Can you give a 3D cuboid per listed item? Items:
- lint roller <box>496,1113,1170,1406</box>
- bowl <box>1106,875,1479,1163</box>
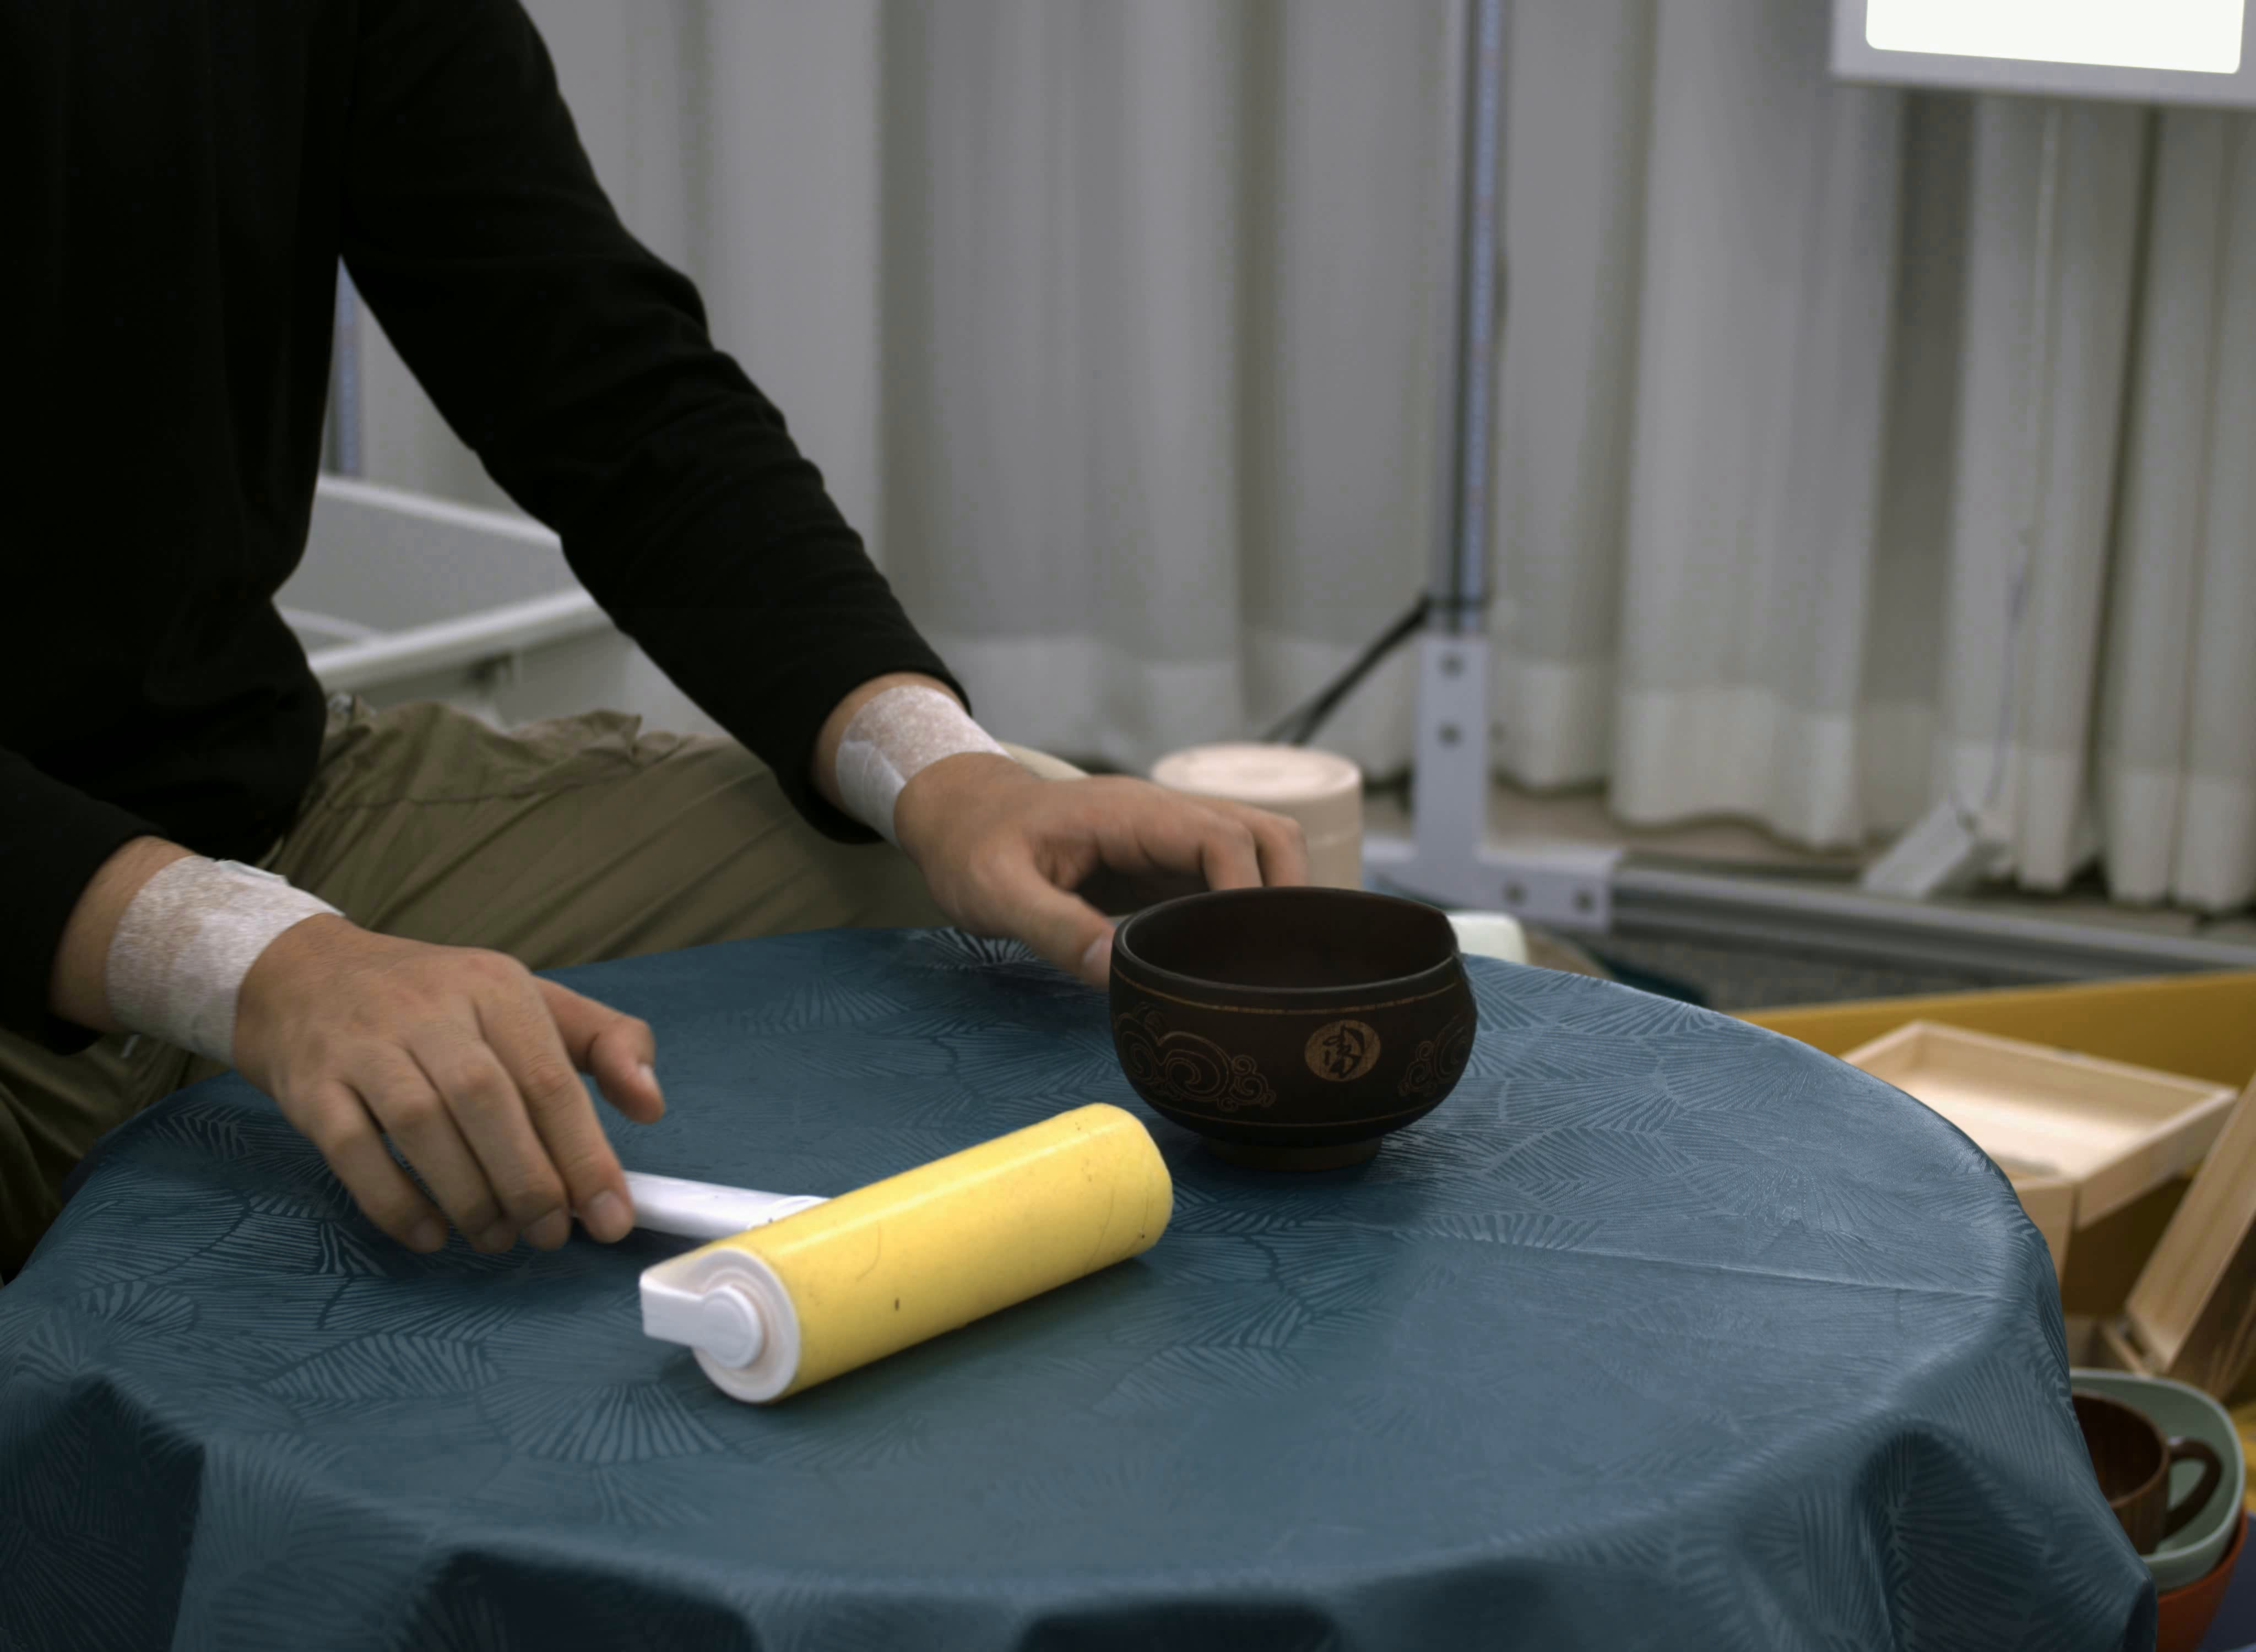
[{"bbox_3d":[-0.112,0.107,1.540,0.189,0.052,0.175,18,22,34],"label":"lint roller"},{"bbox_3d":[0.051,0.064,1.655,0.117,0.070,0.117,2,16,0],"label":"bowl"}]
